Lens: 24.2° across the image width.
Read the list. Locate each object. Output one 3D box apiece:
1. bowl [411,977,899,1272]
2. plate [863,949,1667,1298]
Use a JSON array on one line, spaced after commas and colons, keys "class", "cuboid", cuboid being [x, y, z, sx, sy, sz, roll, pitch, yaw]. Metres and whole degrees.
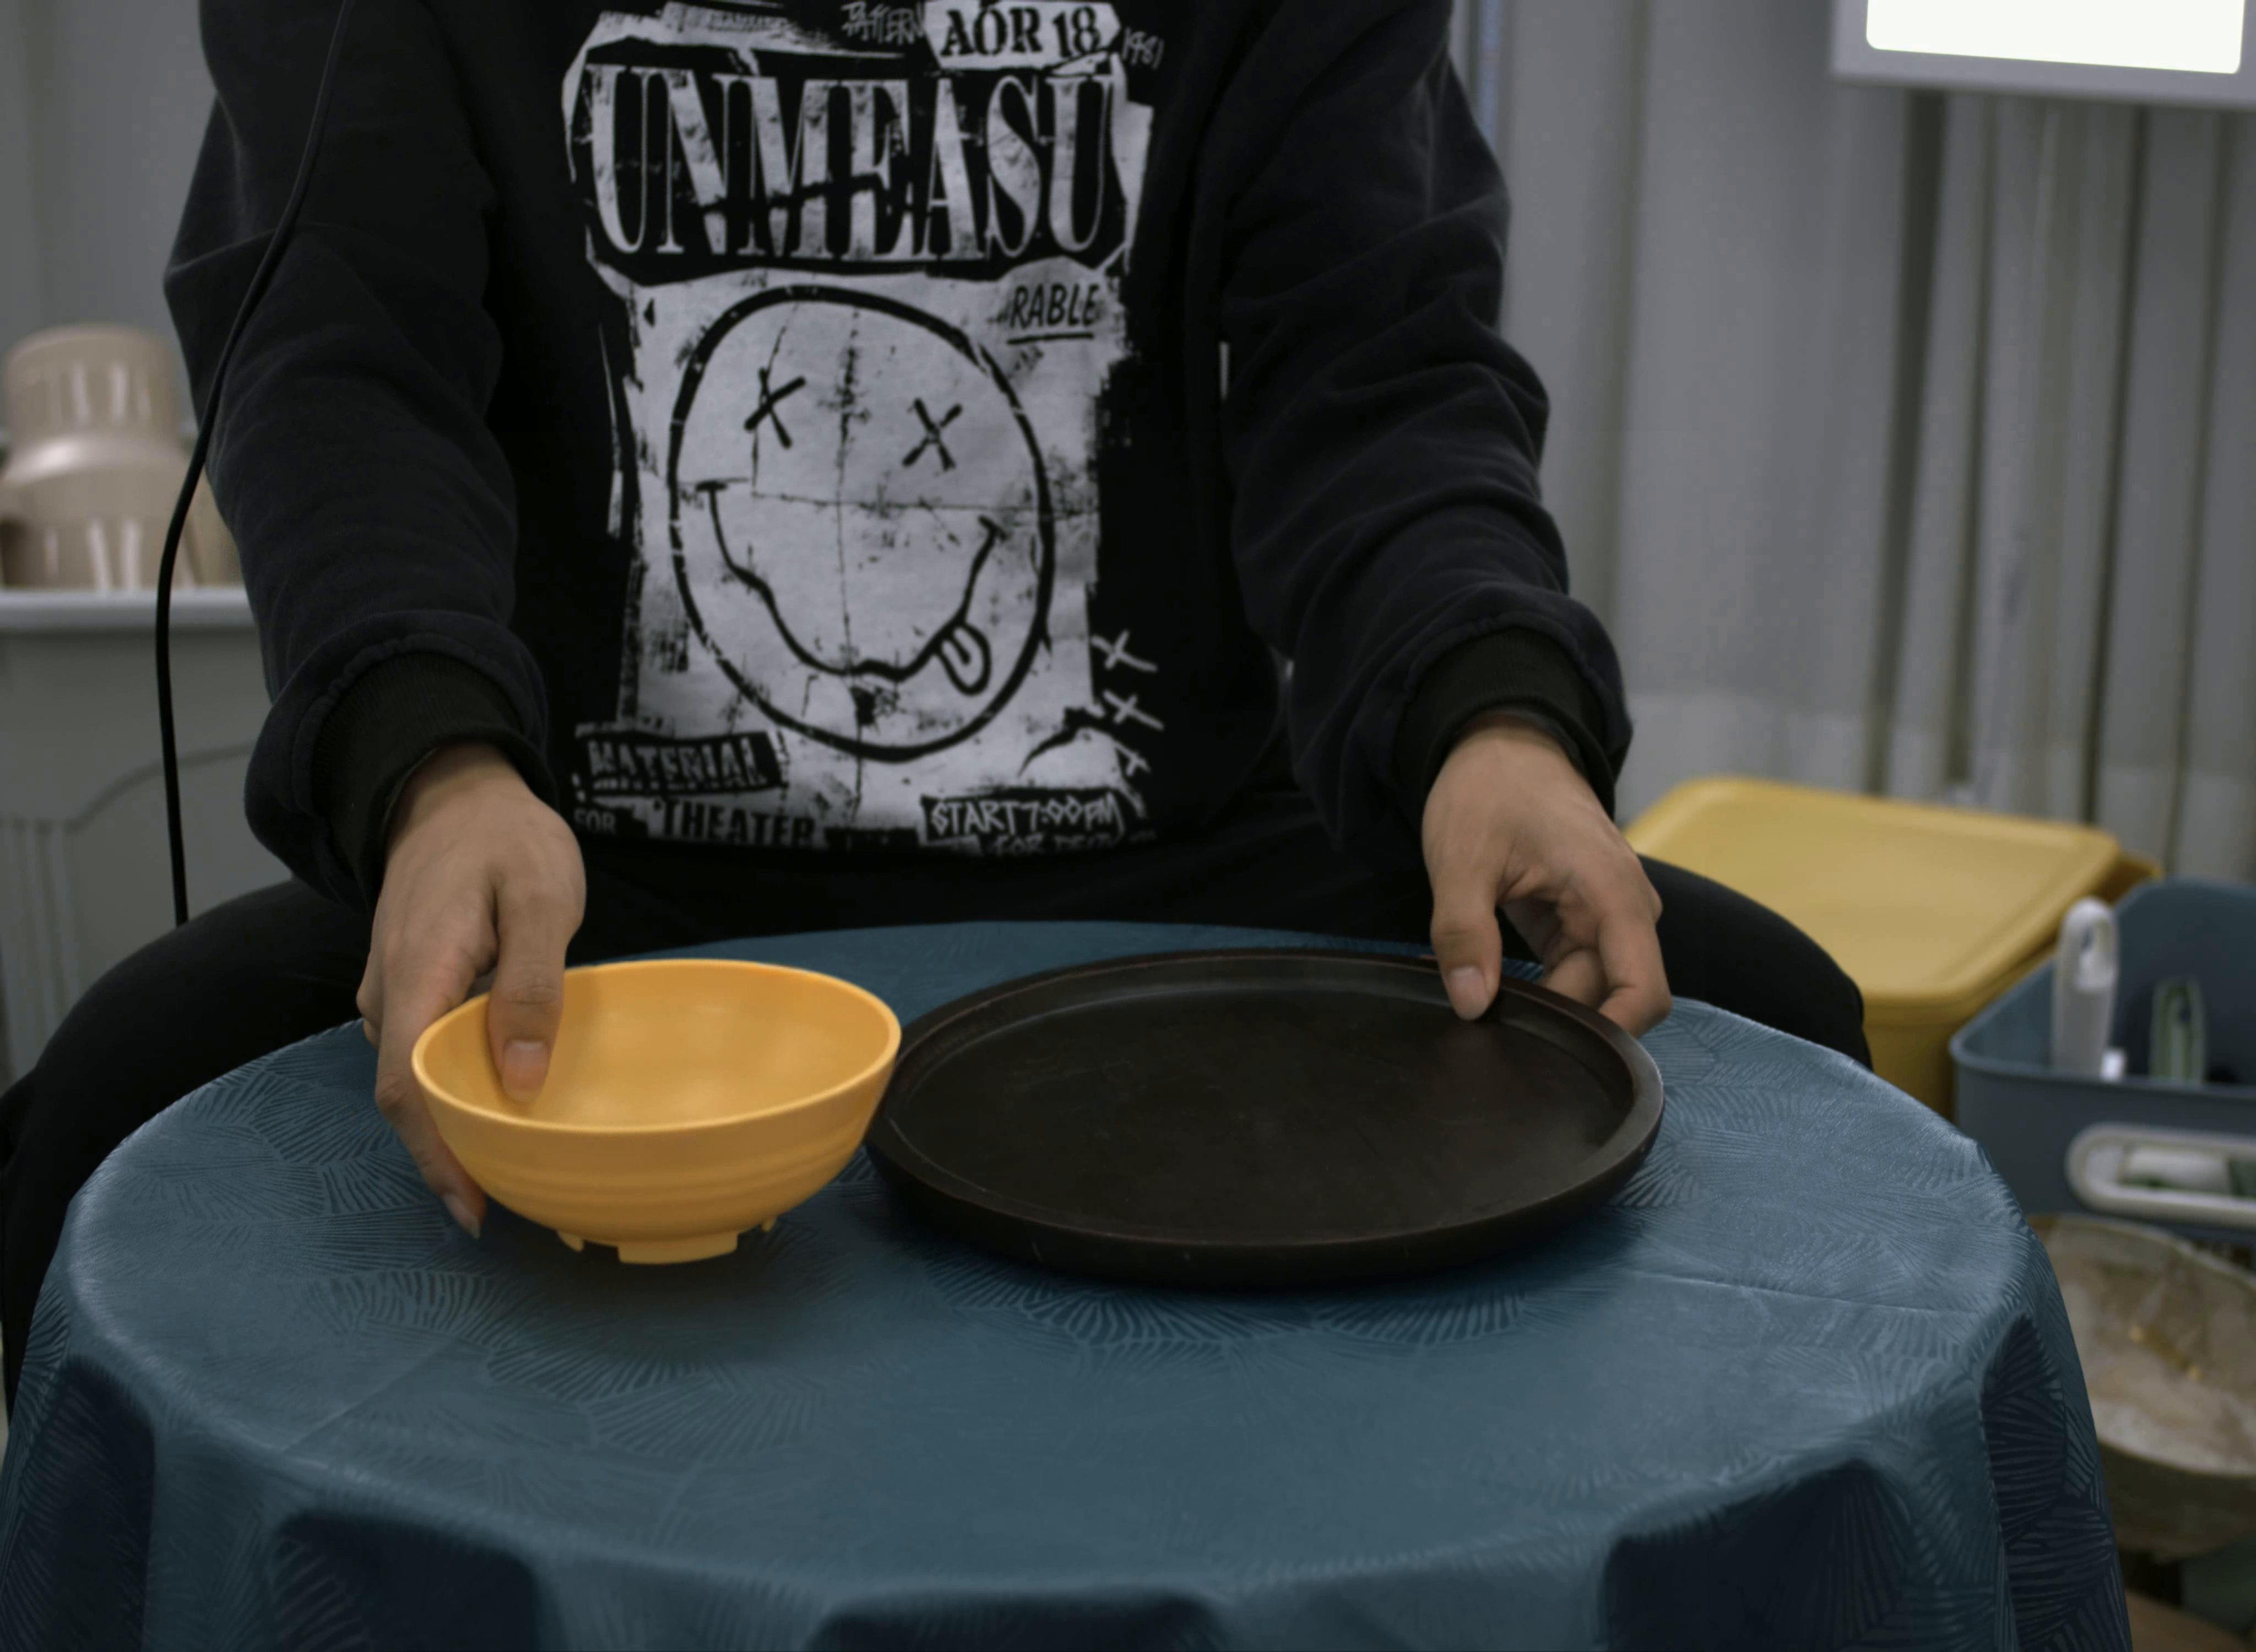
[{"class": "bowl", "cuboid": [-0.139, 0.094, 1.564, 0.145, 0.060, 0.144, 0, 17, 1]}, {"class": "plate", "cuboid": [0.042, 0.090, 1.643, 0.254, 0.029, 0.253, -1, 18, 1]}]
